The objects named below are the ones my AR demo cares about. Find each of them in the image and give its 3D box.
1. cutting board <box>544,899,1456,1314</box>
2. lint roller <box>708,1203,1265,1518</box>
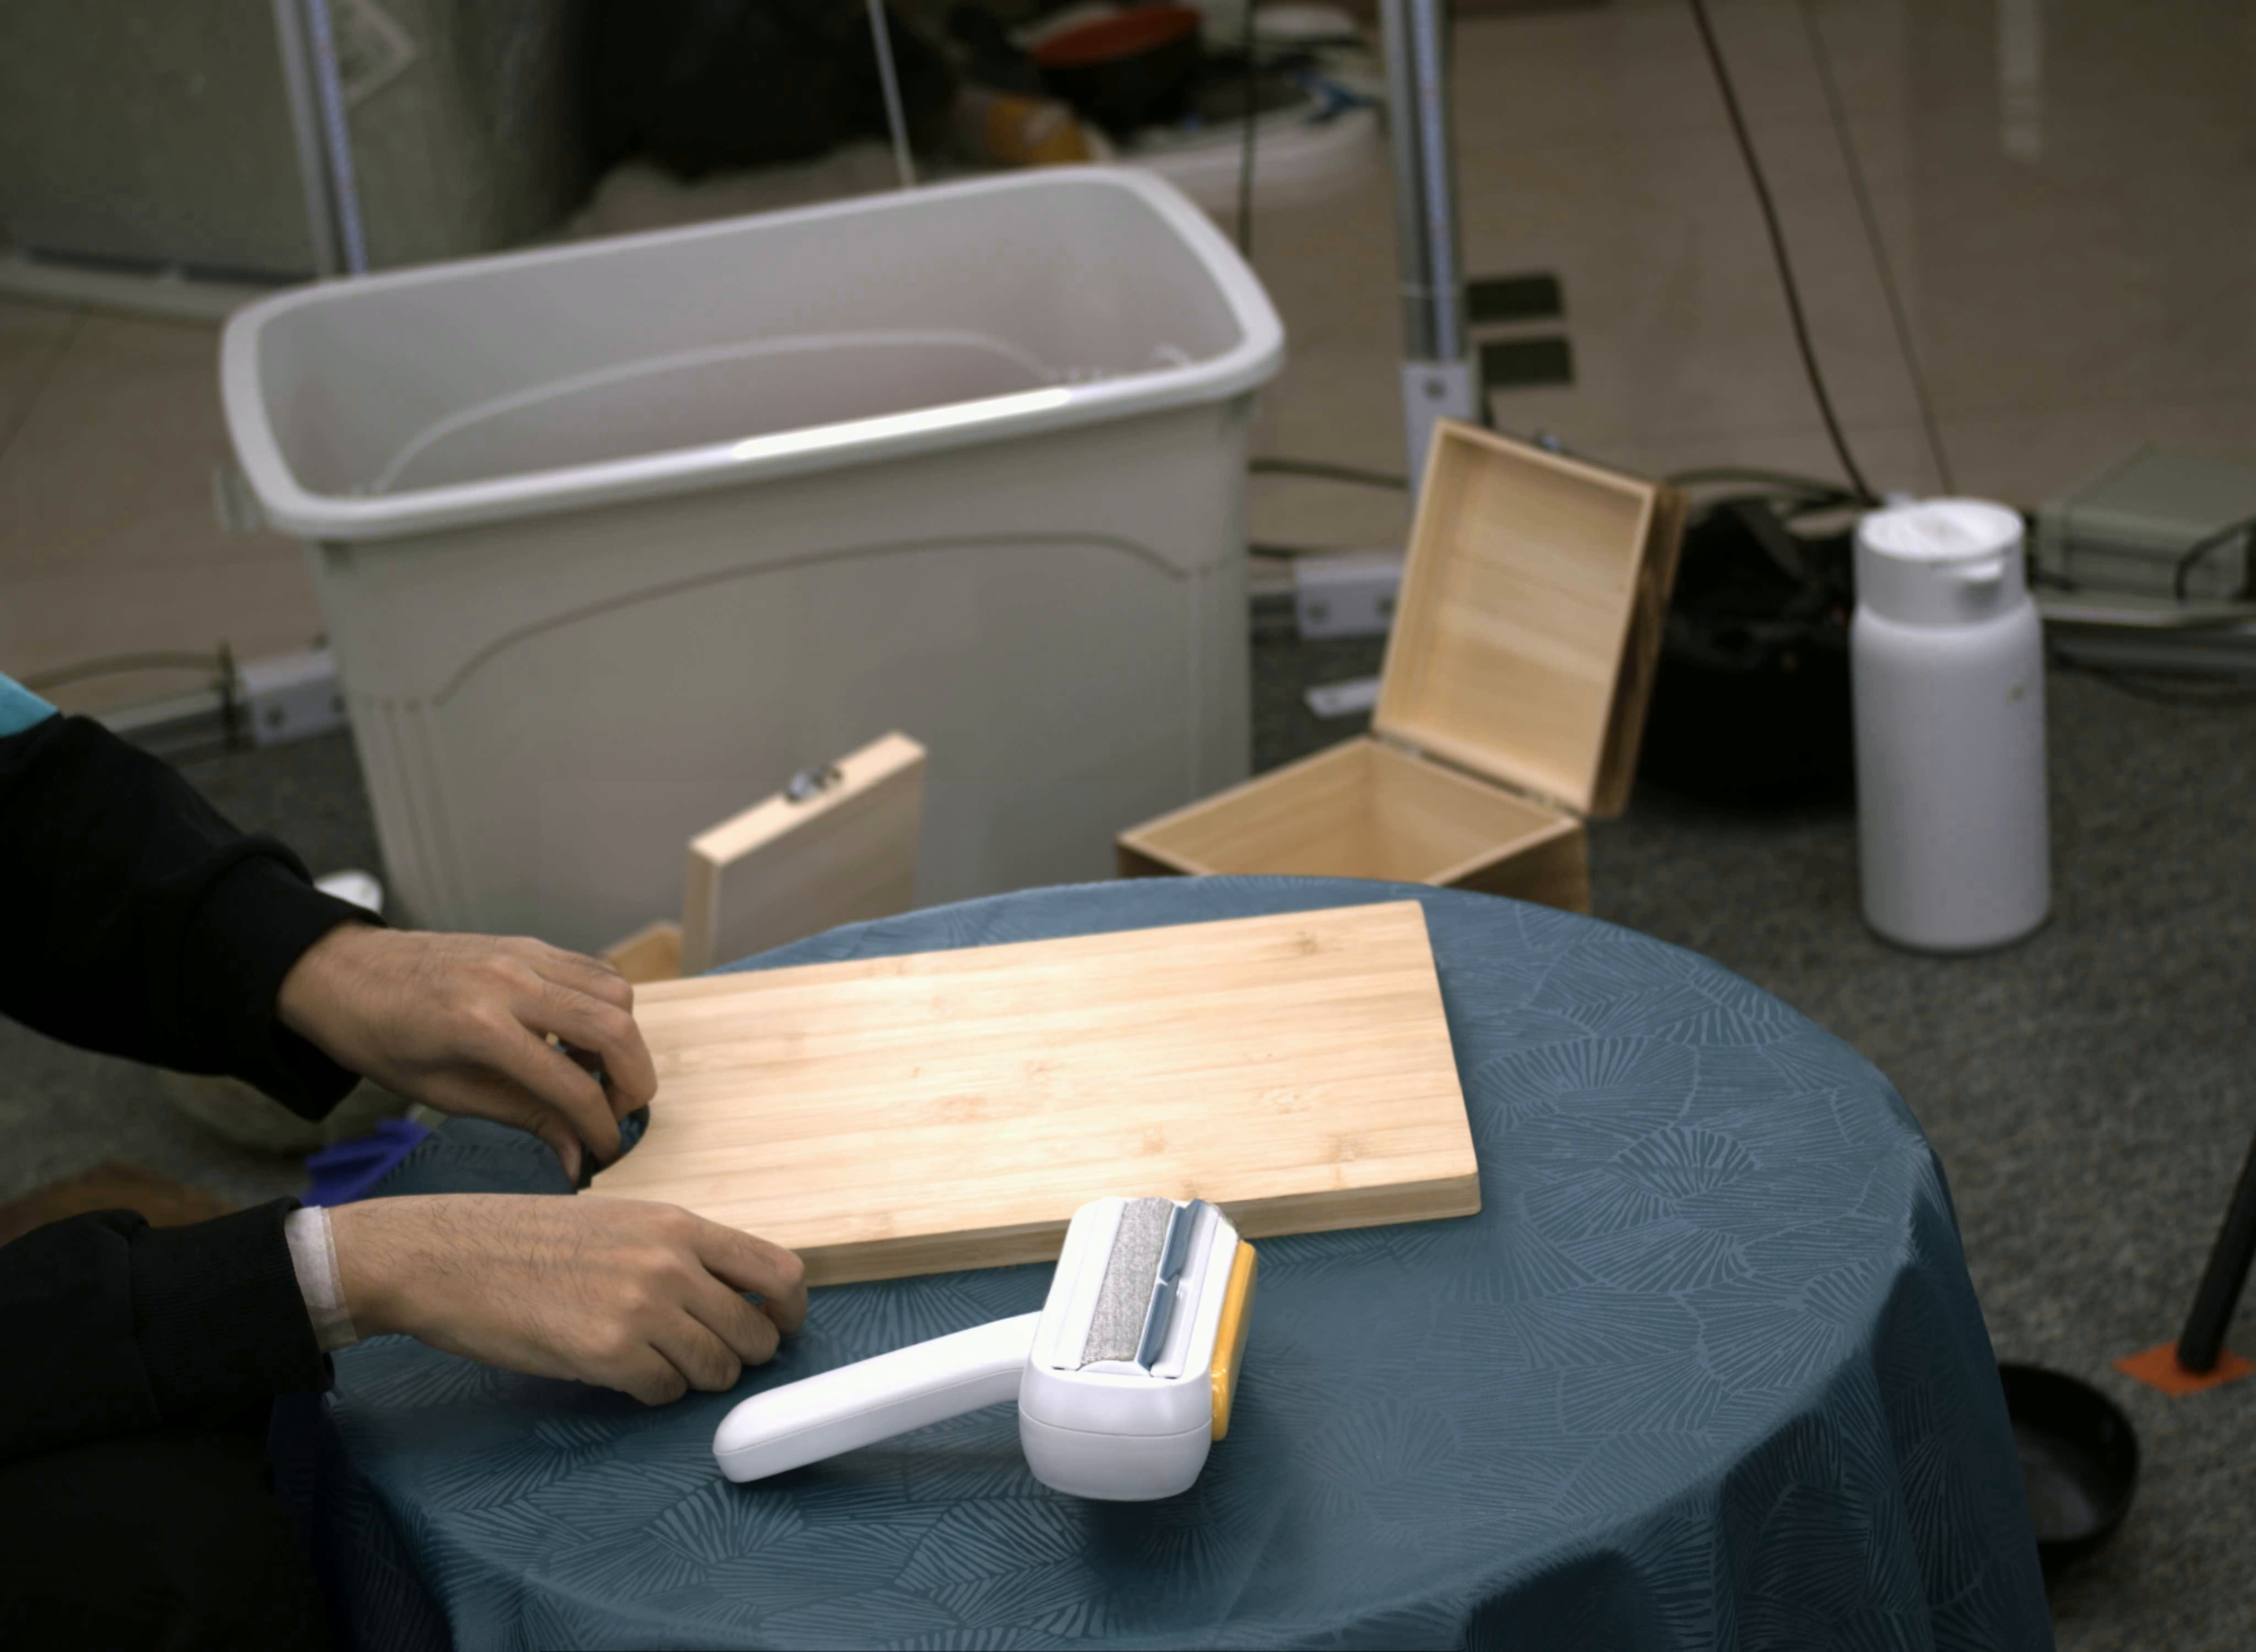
[{"bbox_3d":[-0.049,0.106,2.207,0.348,0.024,0.247,-6,25,0],"label":"cutting board"},{"bbox_3d":[-0.055,0.191,1.966,0.192,0.075,0.190,-4,20,11],"label":"lint roller"}]
